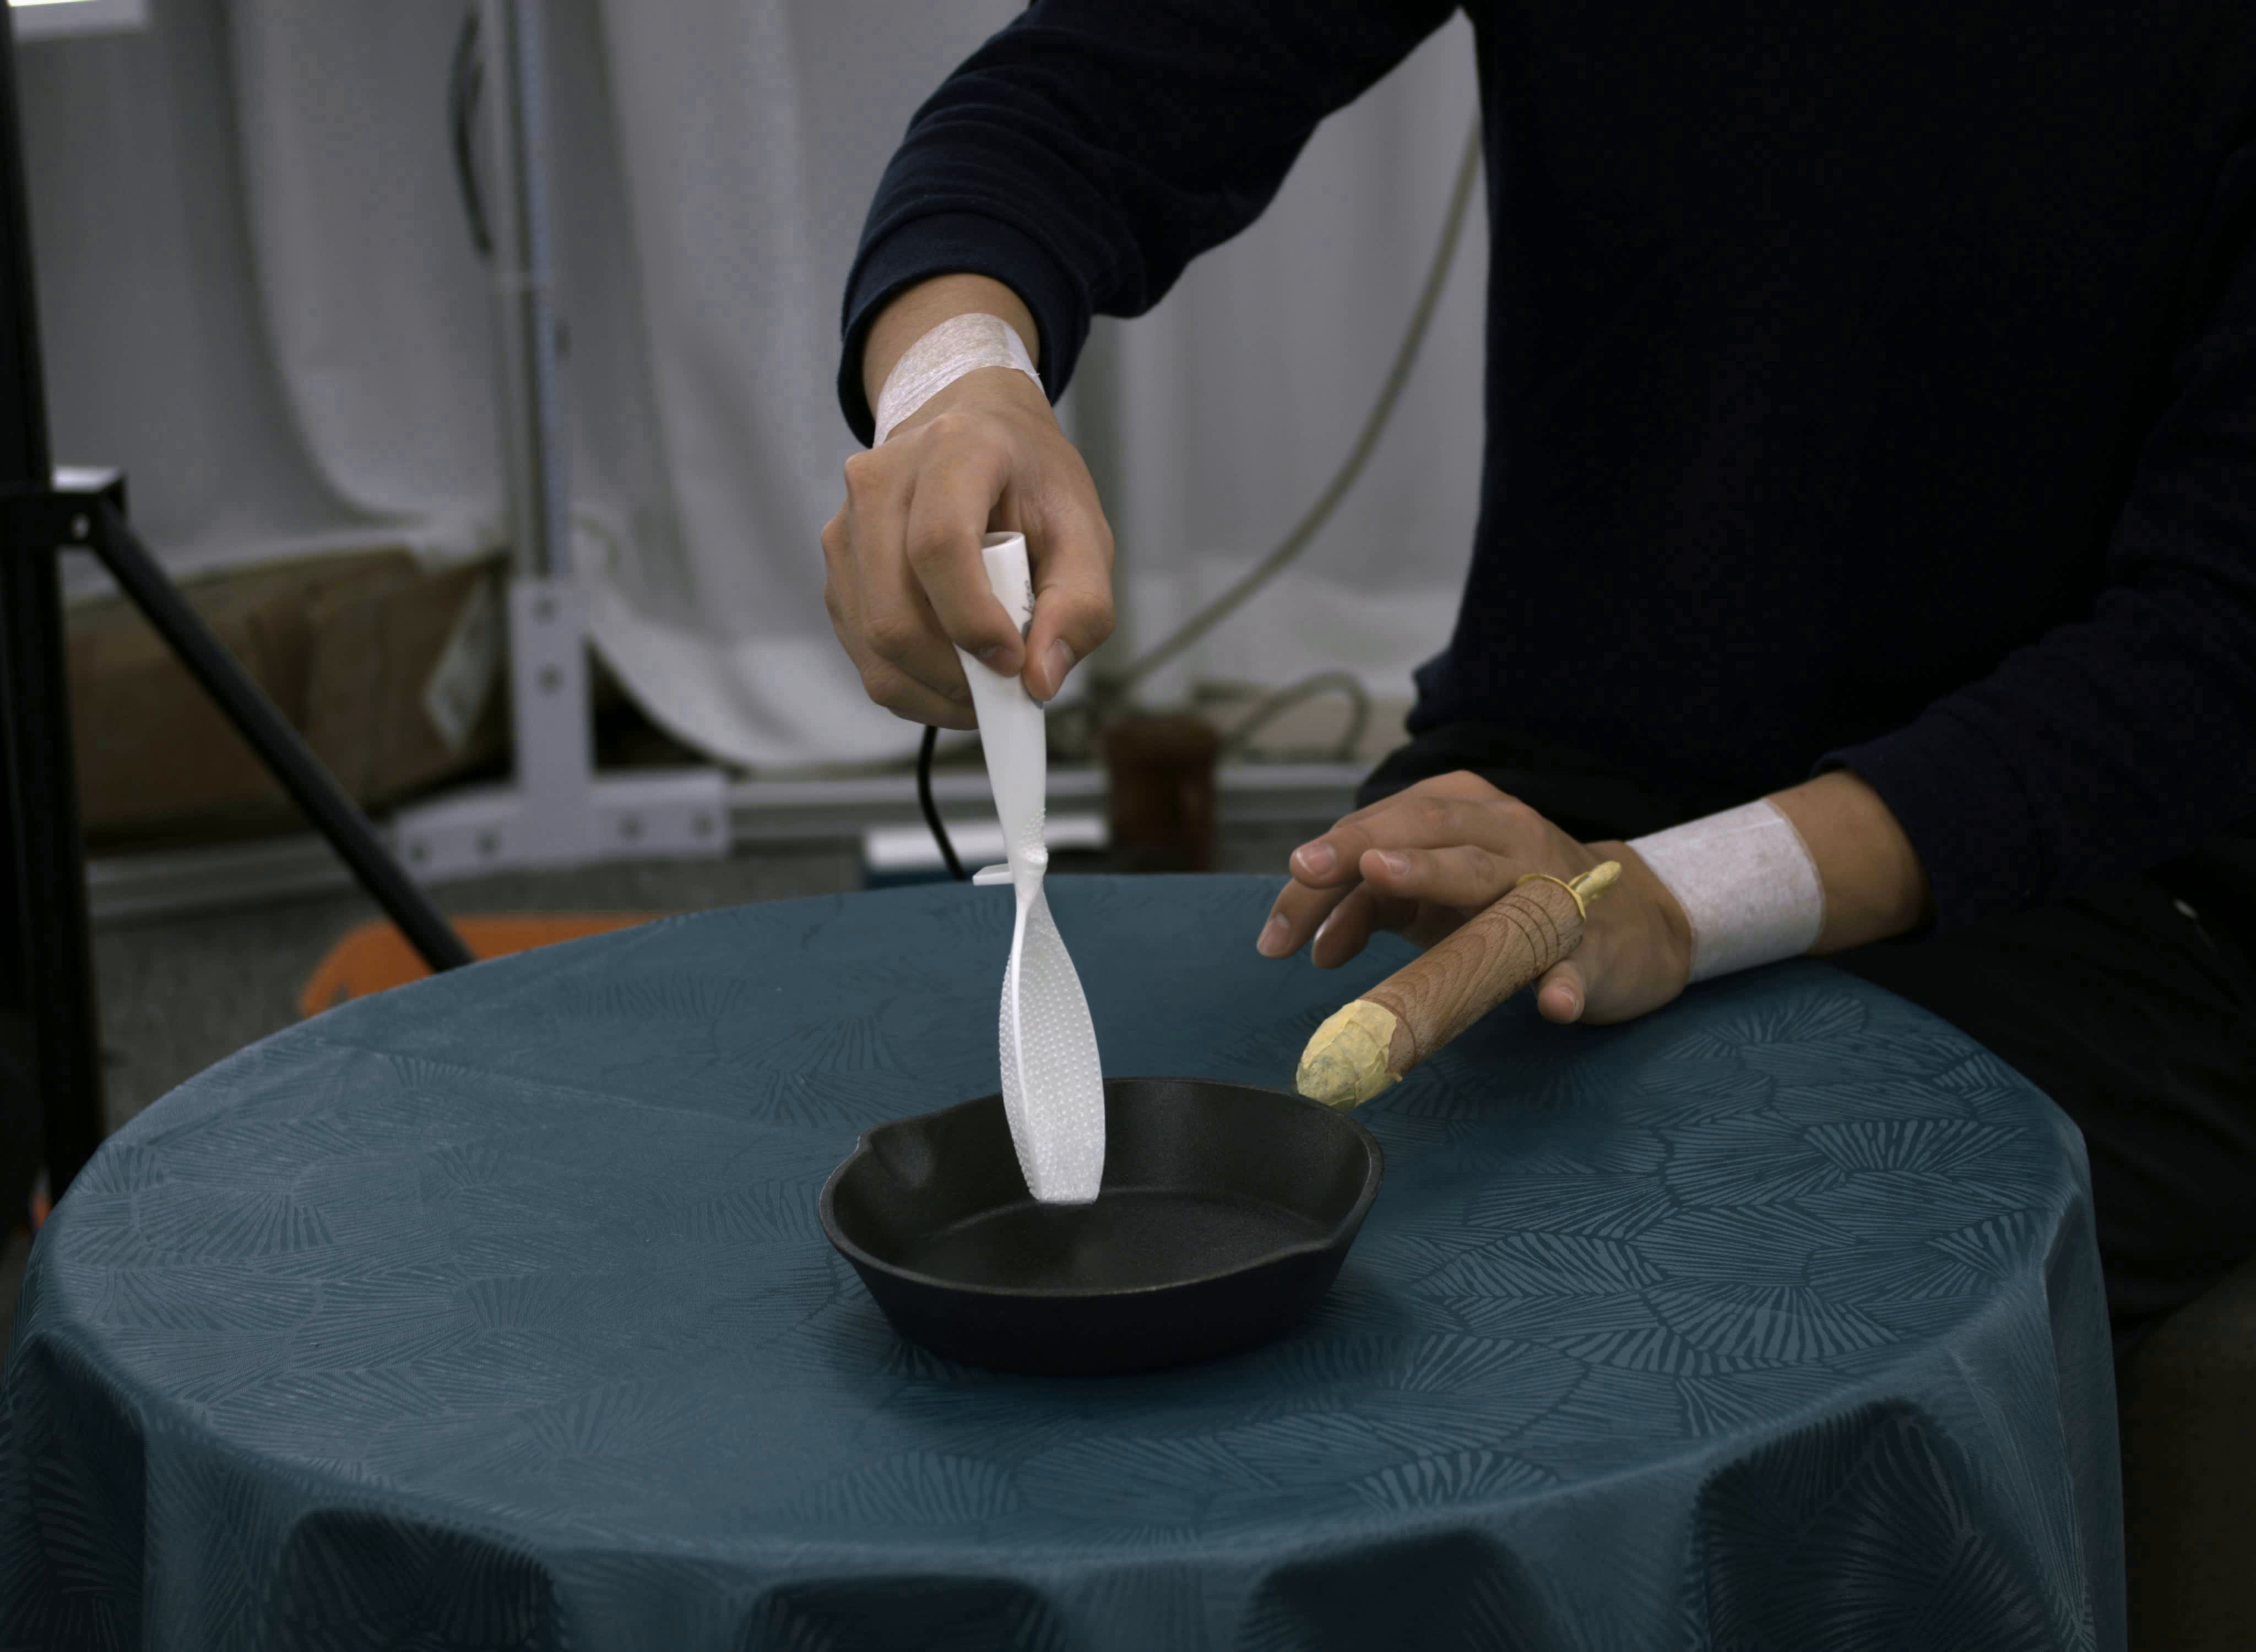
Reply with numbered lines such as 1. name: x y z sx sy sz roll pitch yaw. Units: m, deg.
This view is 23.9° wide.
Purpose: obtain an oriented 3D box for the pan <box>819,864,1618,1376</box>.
1. pan: 0.048 0.081 1.525 0.172 0.049 0.317 11 25 40

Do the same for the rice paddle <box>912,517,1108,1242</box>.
1. rice paddle: -0.027 0.017 1.480 0.030 0.205 0.068 -6 12 20
